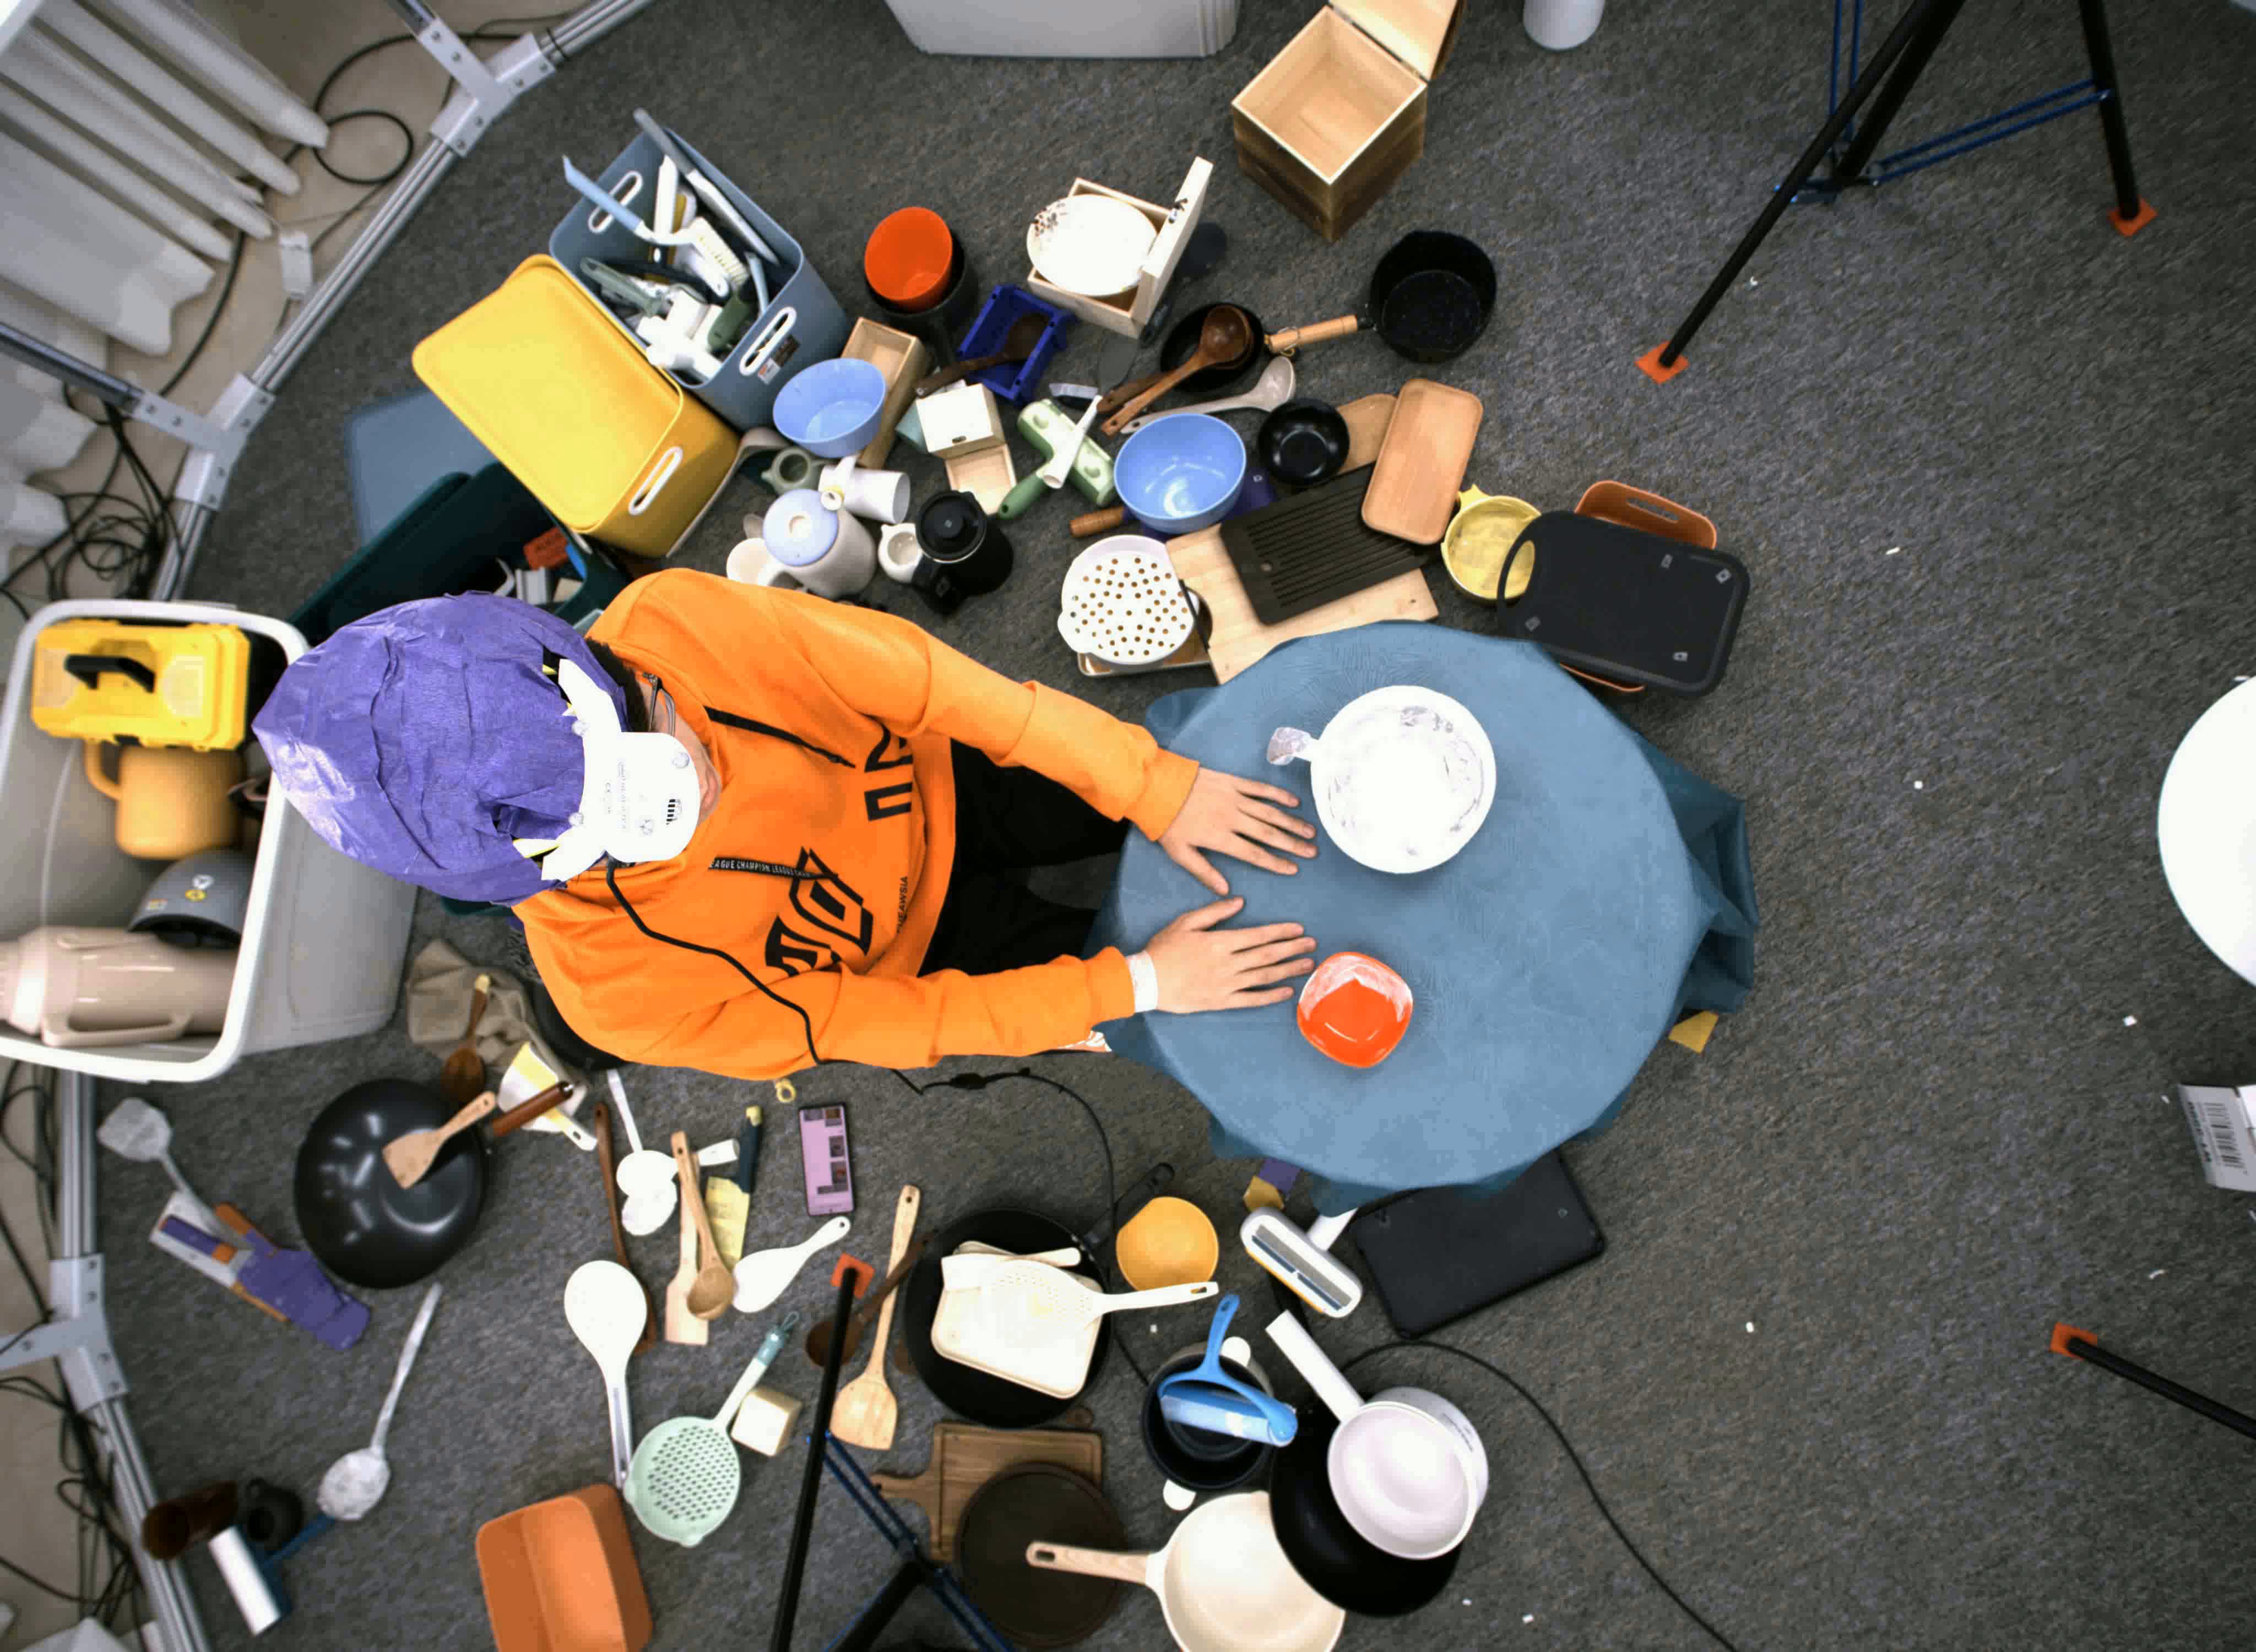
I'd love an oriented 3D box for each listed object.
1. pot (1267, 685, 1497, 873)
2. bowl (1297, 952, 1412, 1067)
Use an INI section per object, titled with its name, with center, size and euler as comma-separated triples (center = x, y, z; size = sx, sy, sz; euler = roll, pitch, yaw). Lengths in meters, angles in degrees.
[pot]
center = 0.251, -0.052, 1.401
size = 0.234, 0.137, 0.178
euler = 18, 89, 11
[bowl]
center = 0.234, 0.187, 1.434
size = 0.119, 0.051, 0.118
euler = -1, 88, 10
